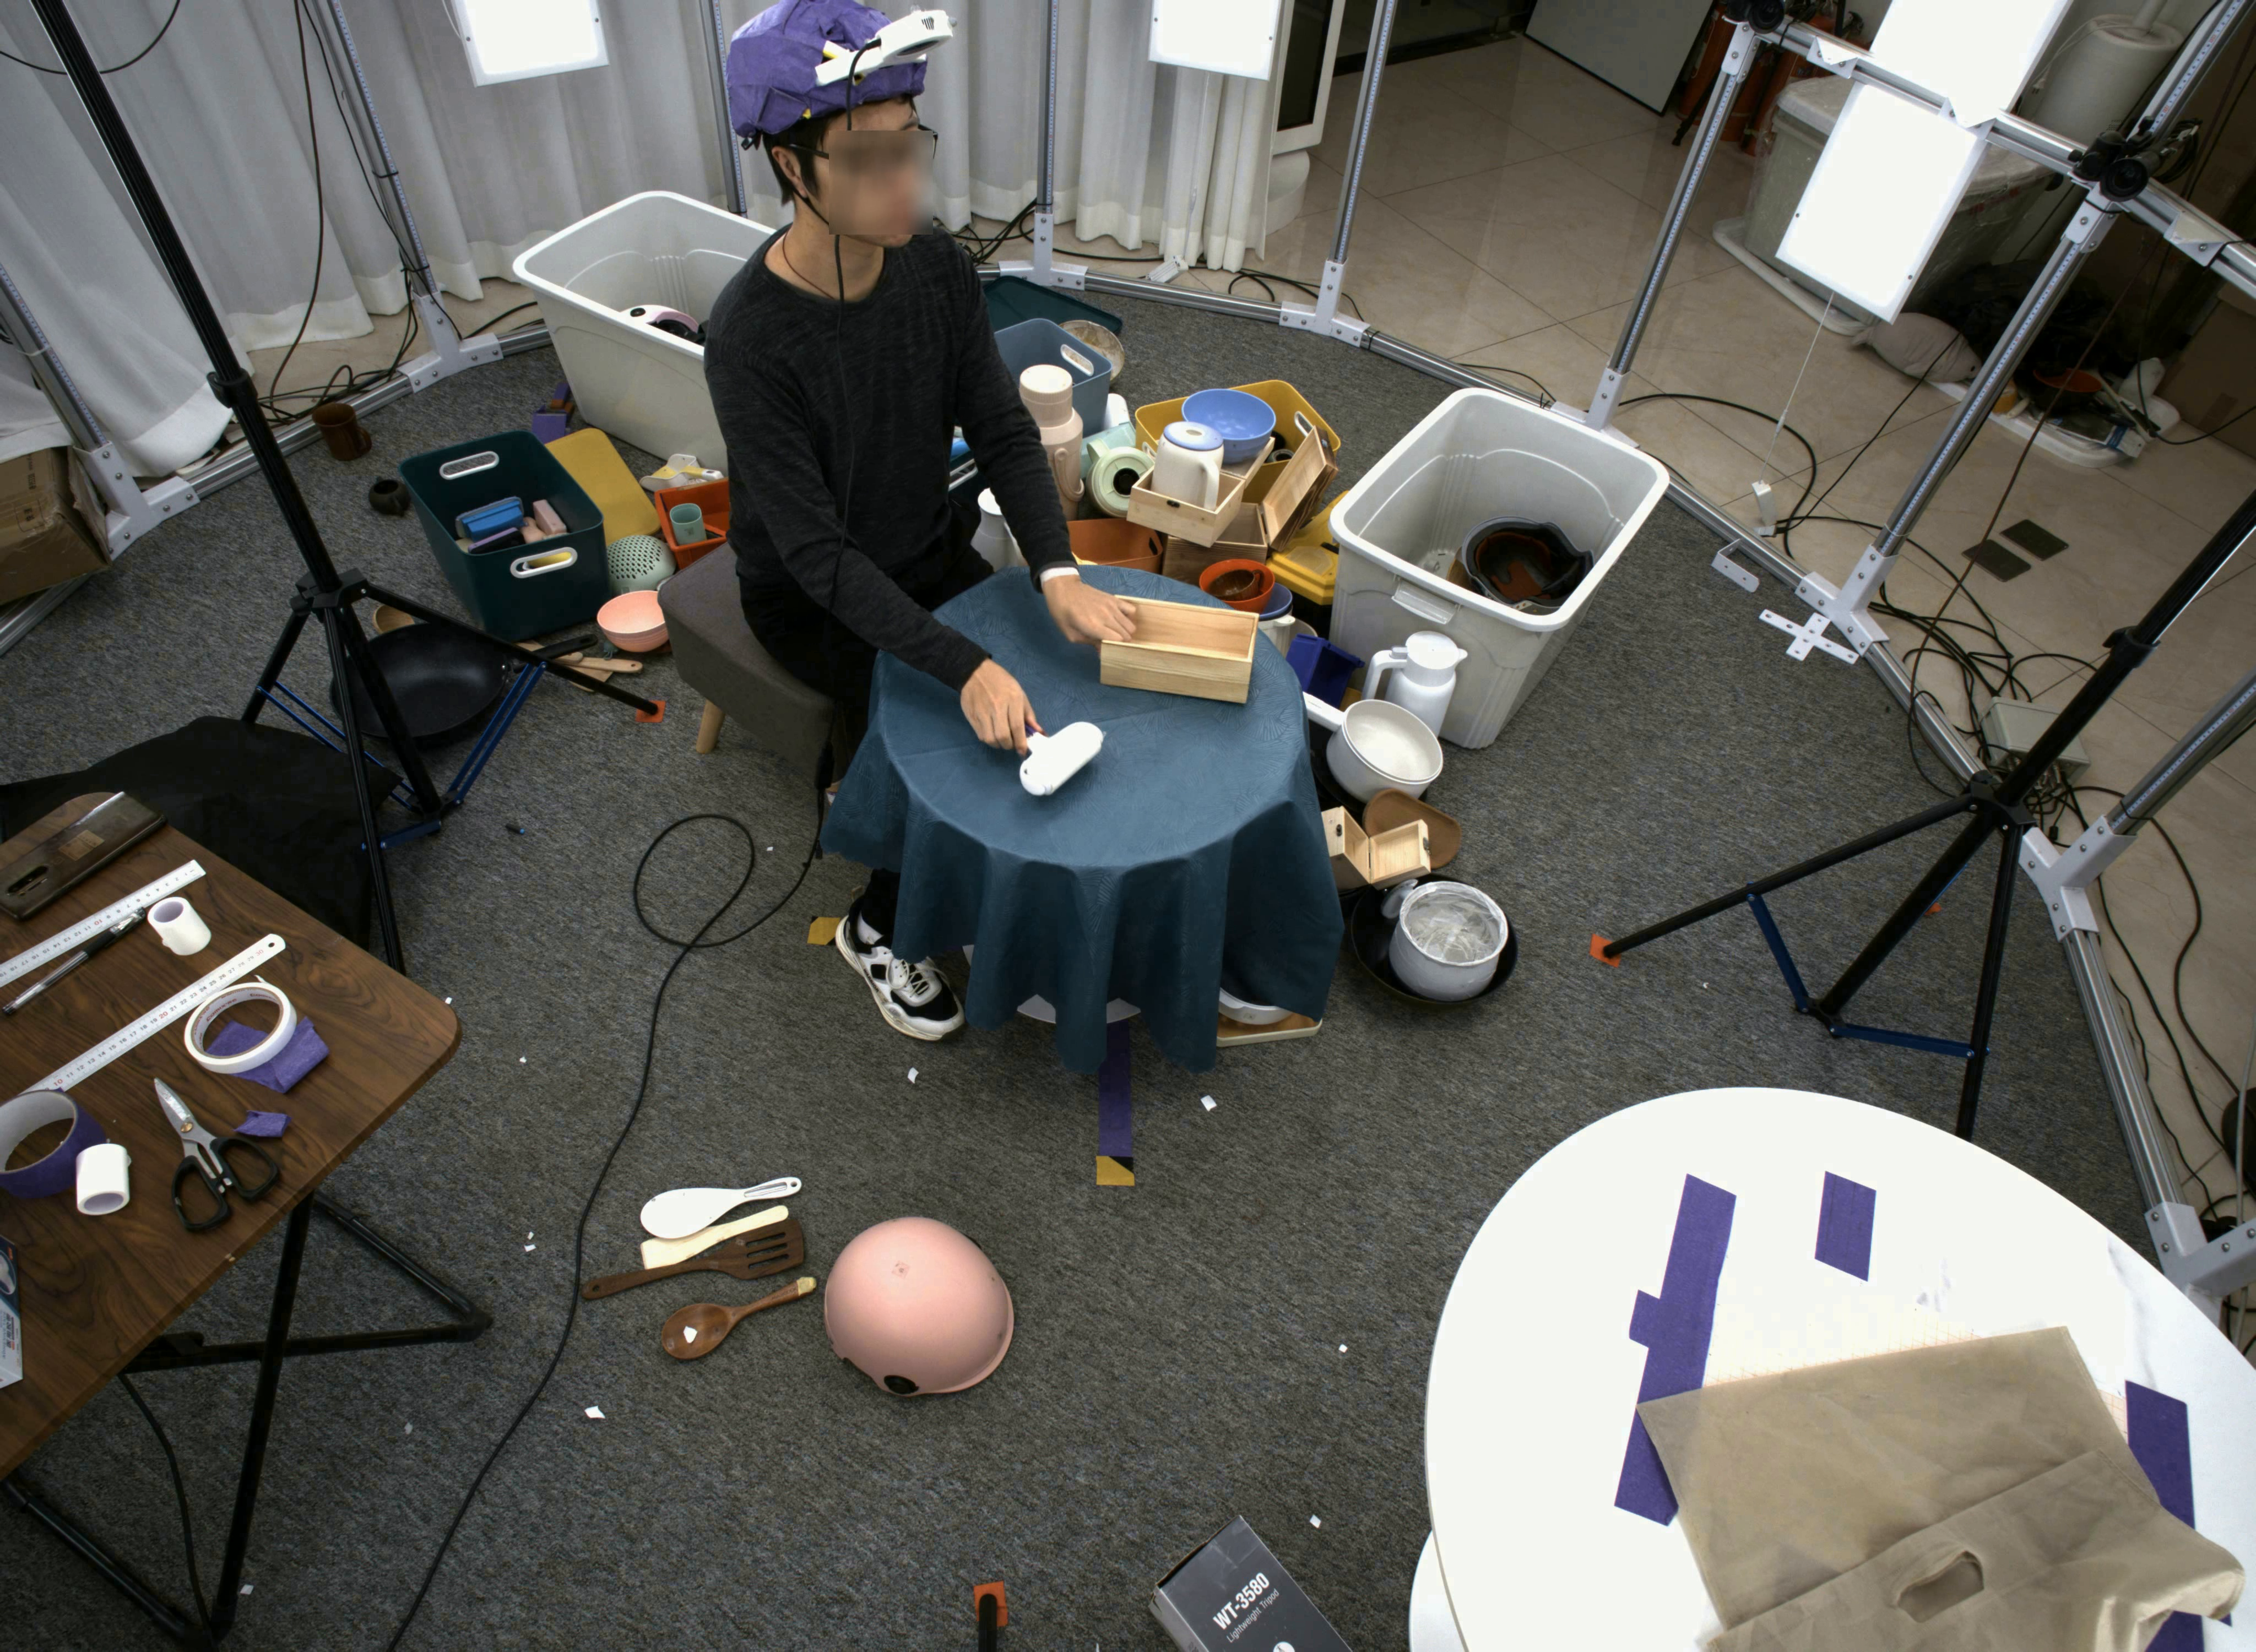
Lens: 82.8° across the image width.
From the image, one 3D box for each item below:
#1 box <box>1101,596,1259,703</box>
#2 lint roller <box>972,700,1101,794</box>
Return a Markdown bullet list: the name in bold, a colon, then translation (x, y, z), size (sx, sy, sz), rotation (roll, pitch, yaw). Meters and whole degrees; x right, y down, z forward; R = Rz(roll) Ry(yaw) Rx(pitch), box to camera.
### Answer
- **box**: translation (0.074, -0.254, 1.839), size (0.211, 0.078, 0.110), rotation (8, 49, 6)
- **lint roller**: translation (-0.135, -0.128, 1.709), size (0.183, 0.049, 0.134), rotation (38, 57, 17)
